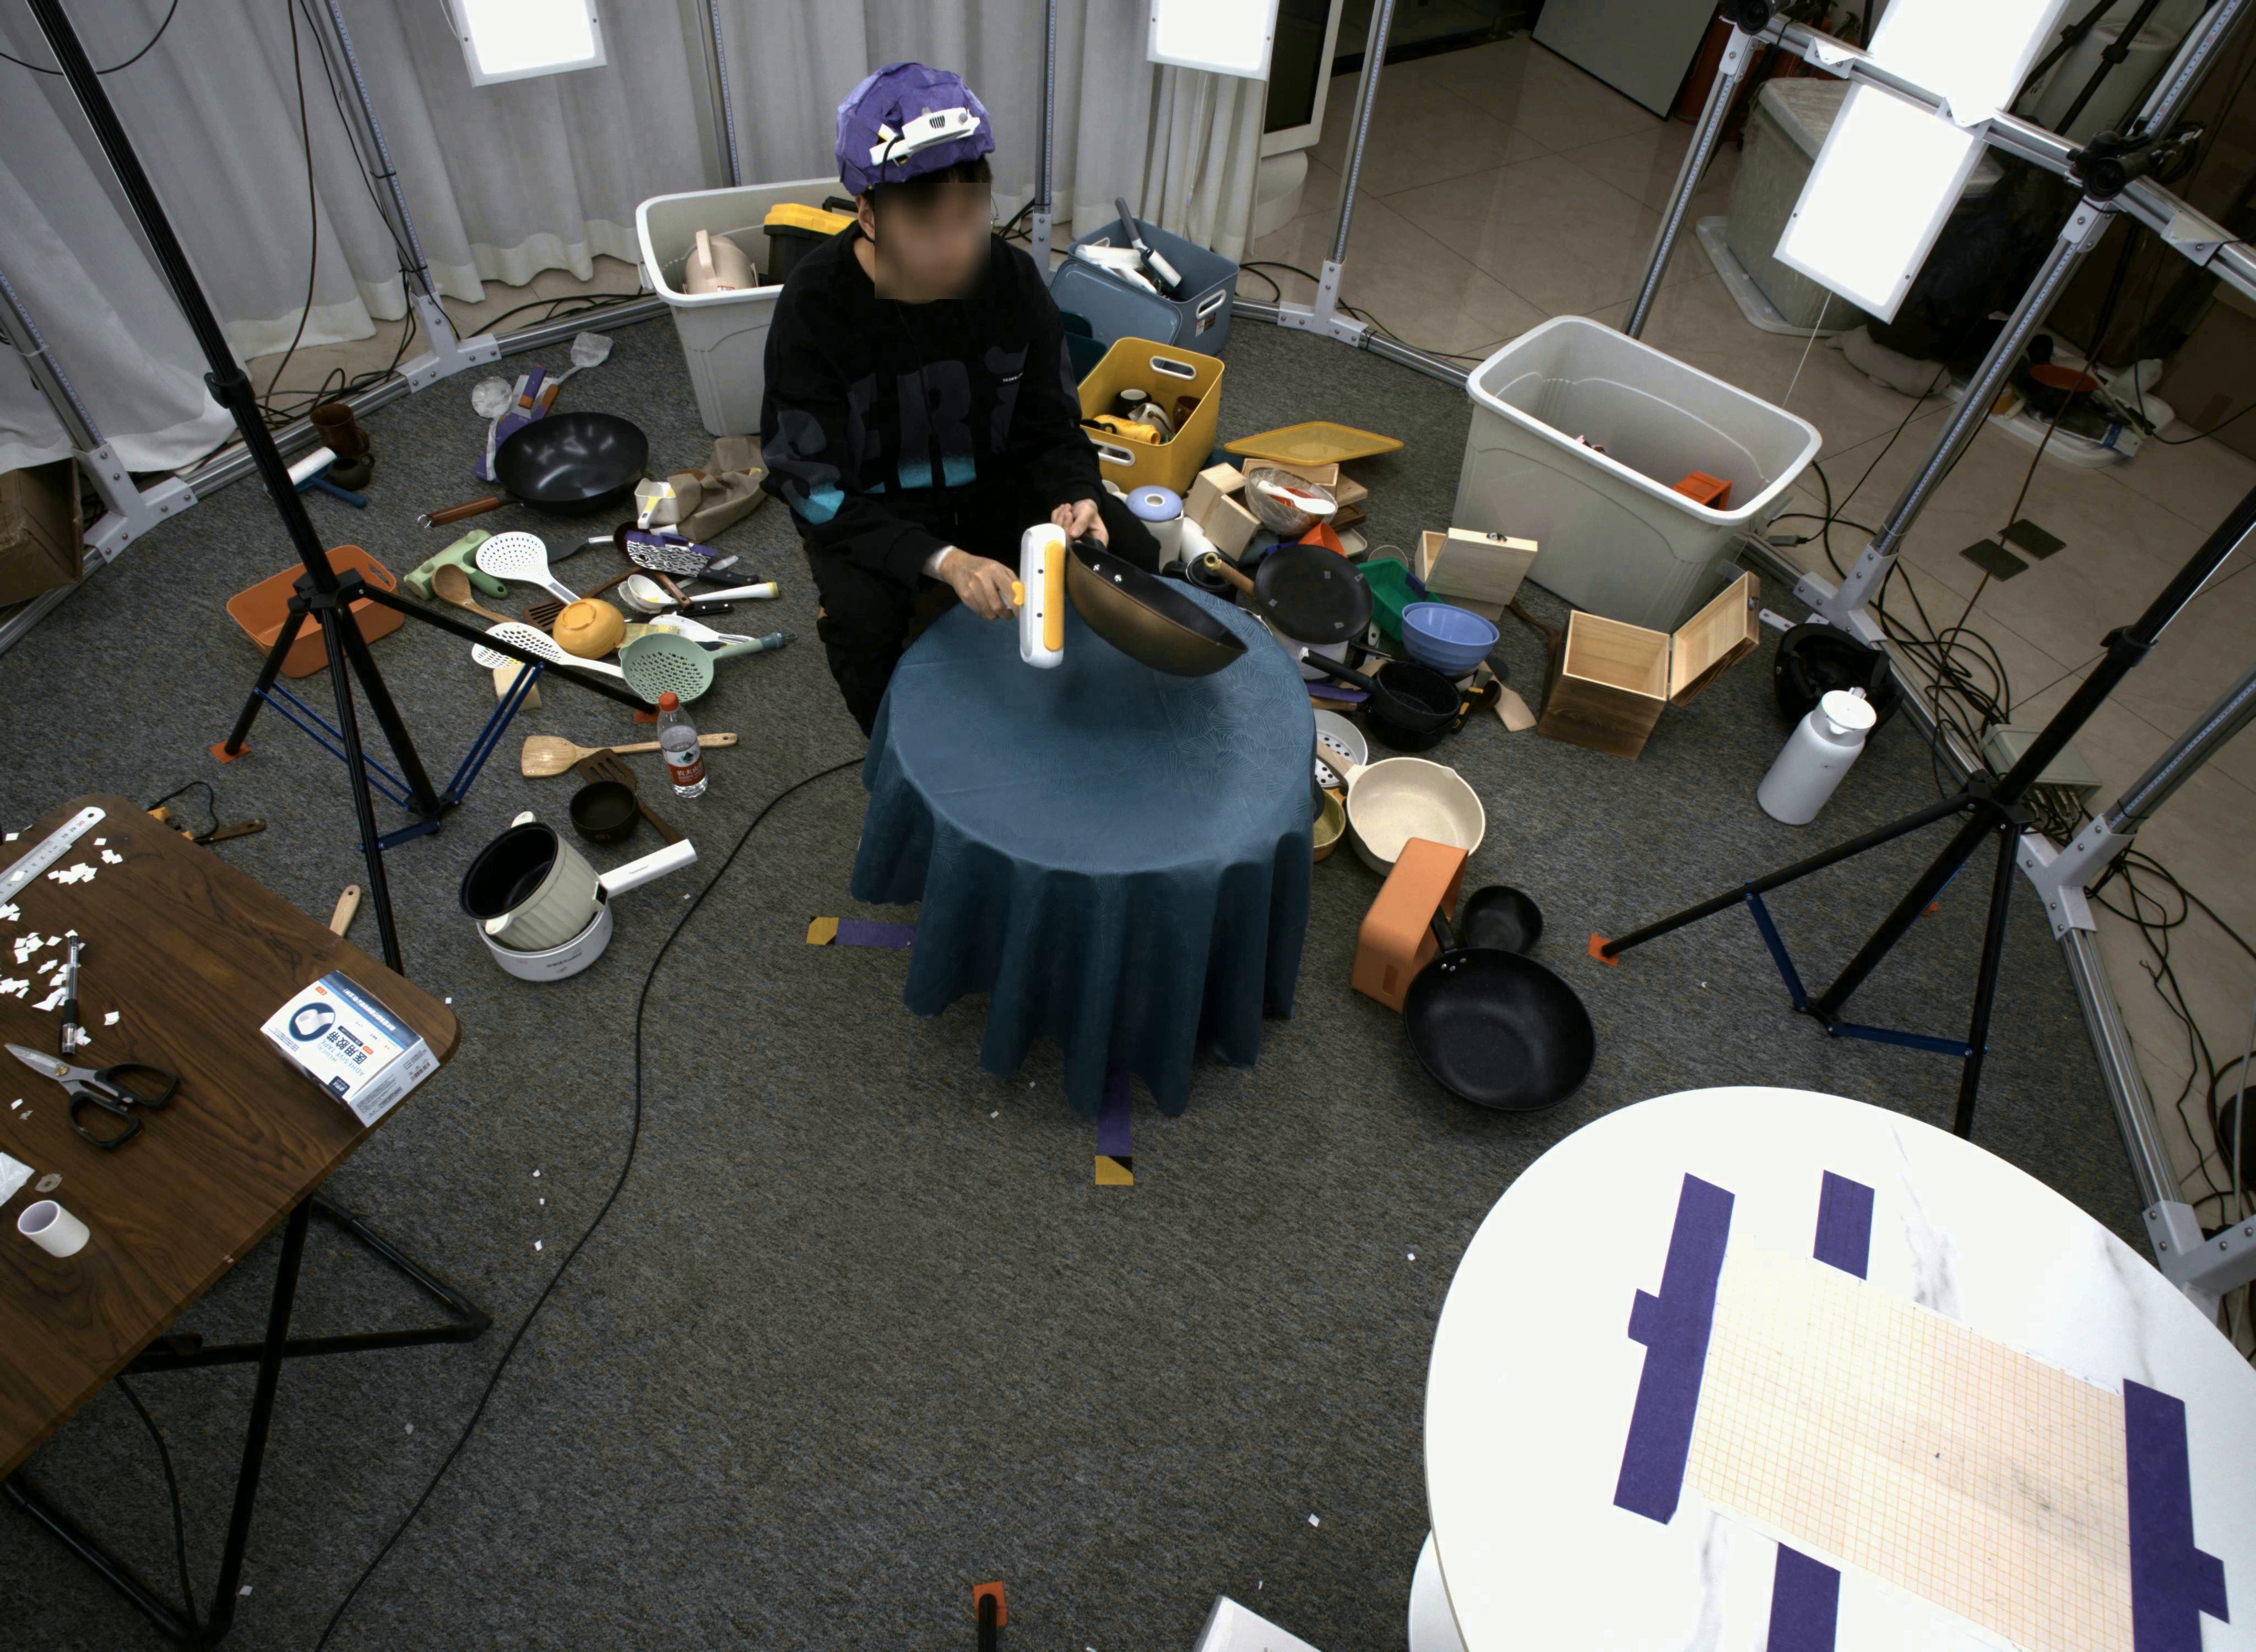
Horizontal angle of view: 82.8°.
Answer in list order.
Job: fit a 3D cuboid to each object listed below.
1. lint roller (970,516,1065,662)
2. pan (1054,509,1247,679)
[{"bbox_3d":[-0.152,-0.321,1.777,0.074,0.192,0.193,-7,7,-31],"label":"lint roller"},{"bbox_3d":[-0.021,-0.329,1.808,0.284,0.086,0.473,17,22,-40],"label":"pan"}]
